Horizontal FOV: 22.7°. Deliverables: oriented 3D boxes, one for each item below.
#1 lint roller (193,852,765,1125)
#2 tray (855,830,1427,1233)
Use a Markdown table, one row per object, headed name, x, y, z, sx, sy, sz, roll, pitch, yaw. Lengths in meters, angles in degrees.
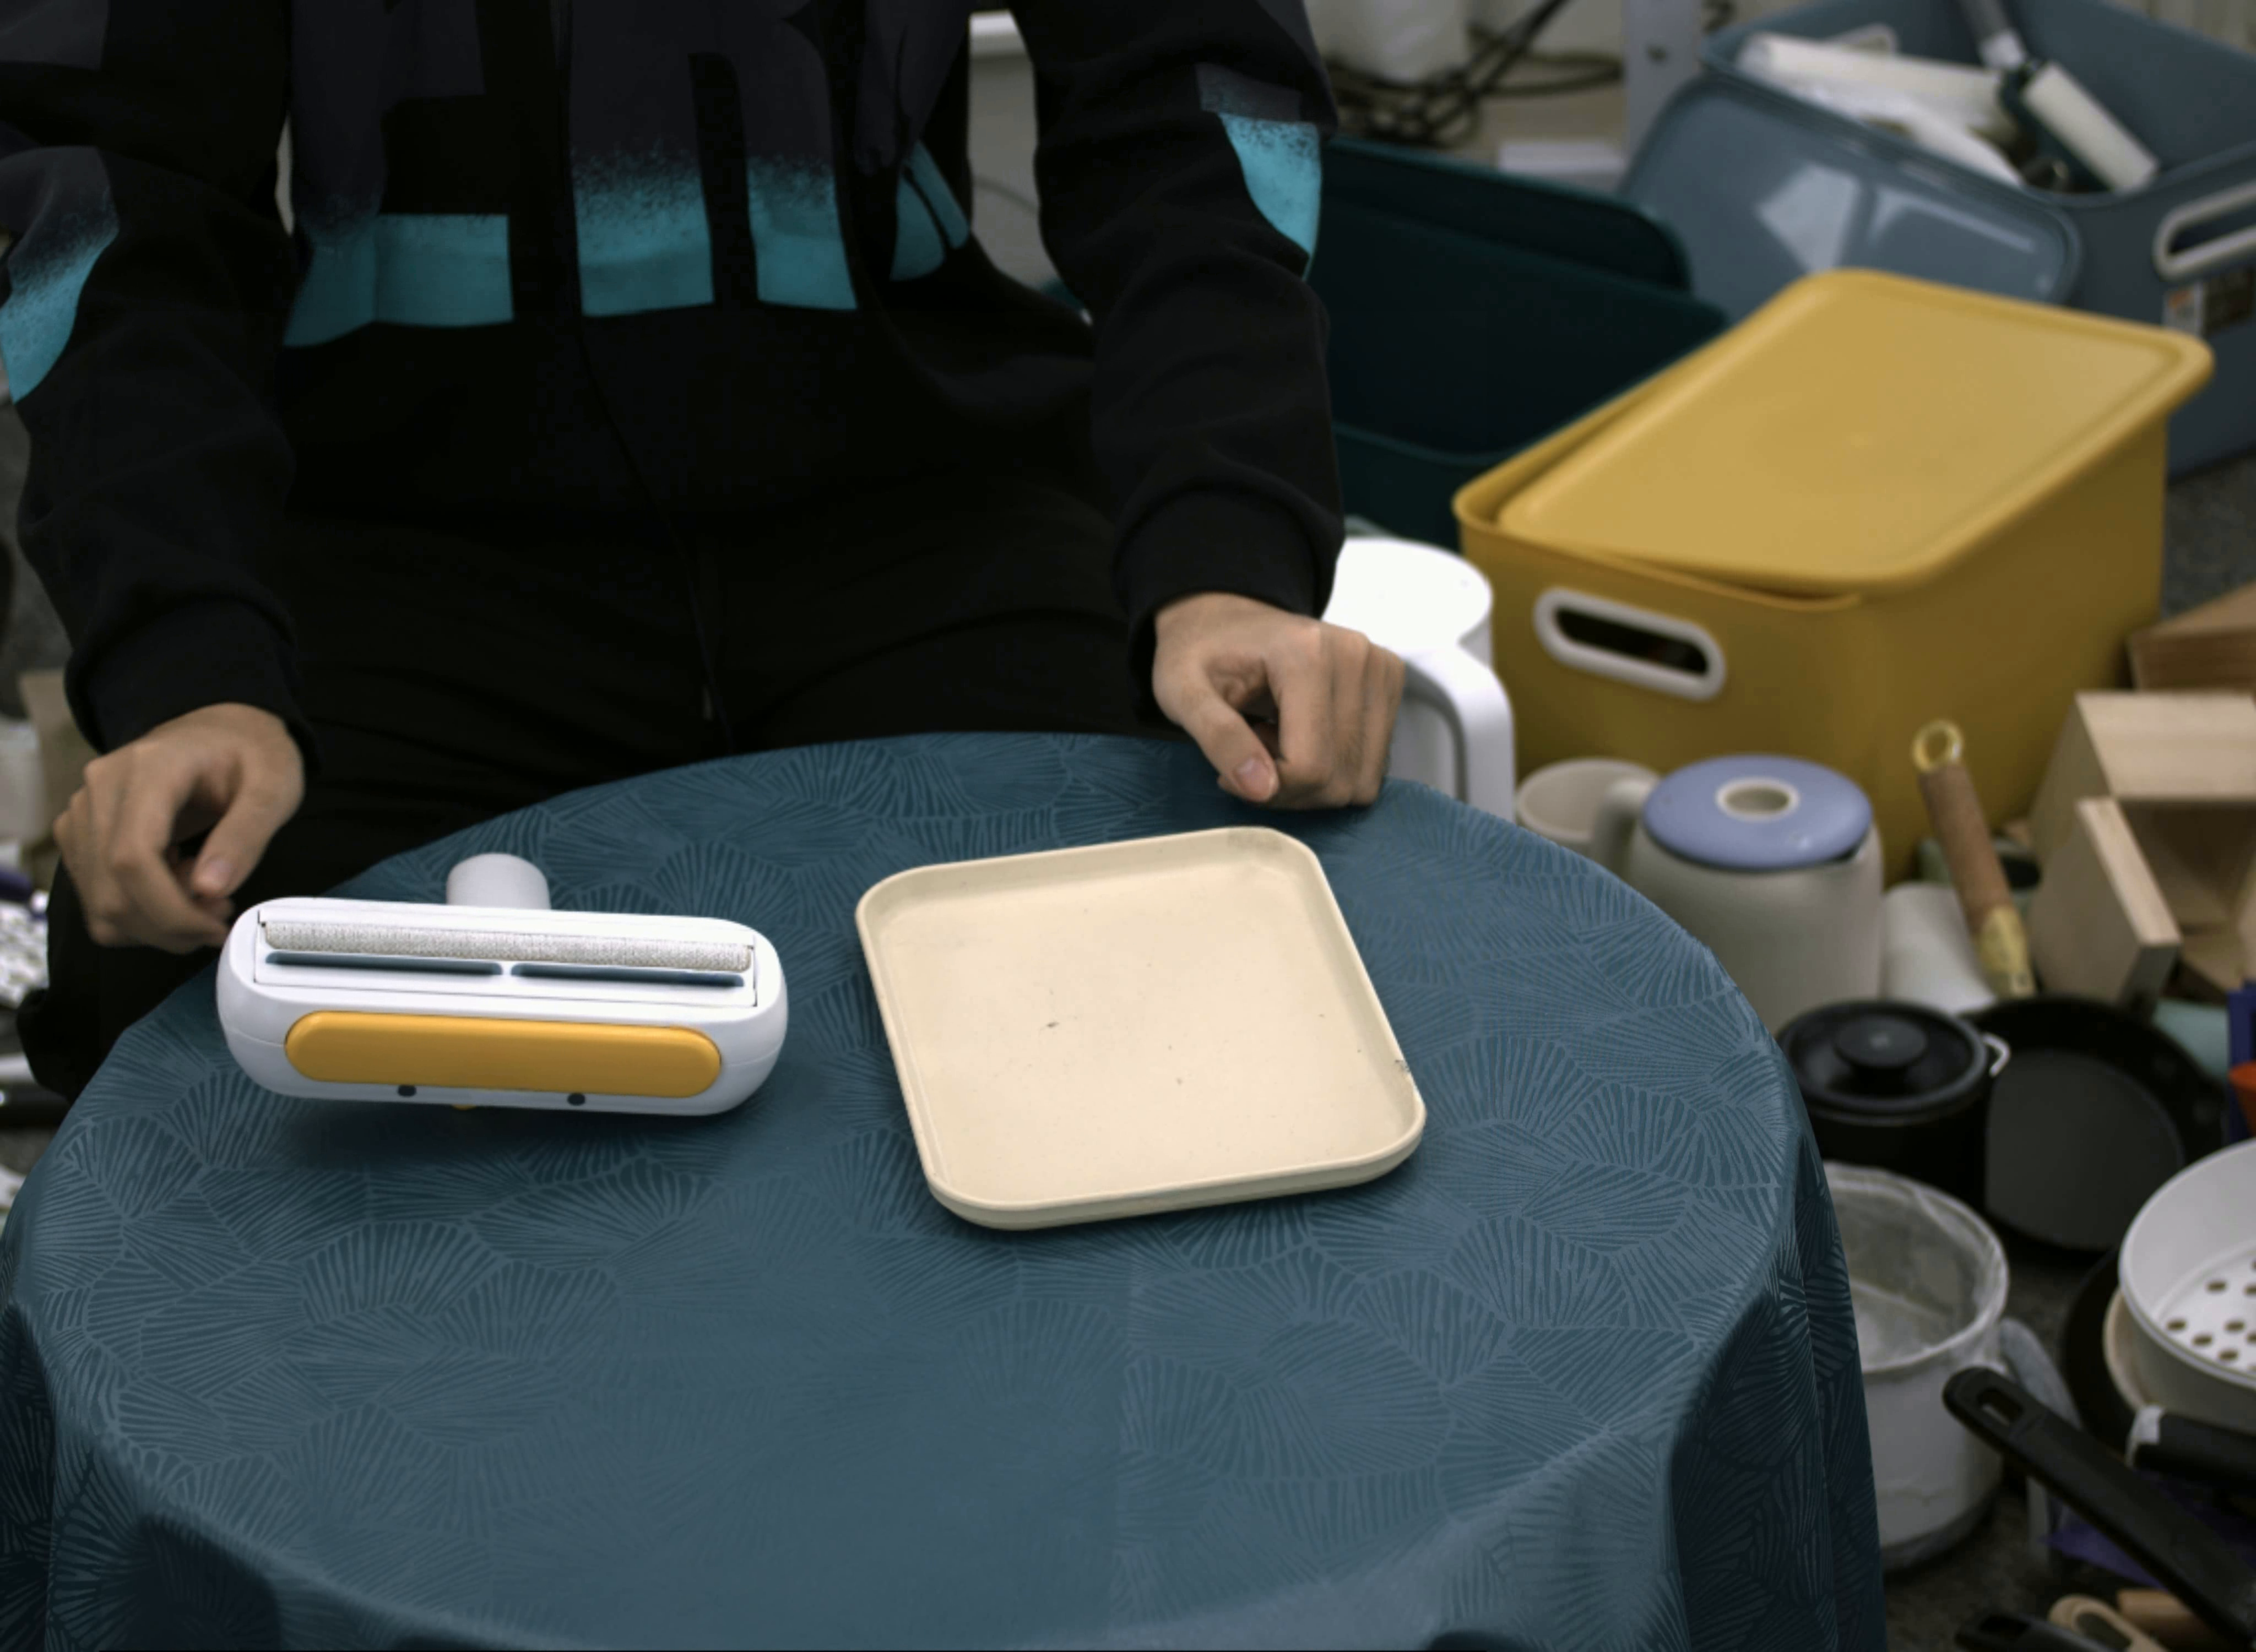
| name | x | y | z | sx | sy | sz | roll | pitch | yaw |
| --- | --- | --- | --- | --- | --- | --- | --- | --- | --- |
| lint roller | -0.222 | 0.043 | 1.962 | 0.192 | 0.073 | 0.195 | 1 | 25 | -4 |
| tray | 0.001 | 0.070 | 1.941 | 0.171 | 0.017 | 0.242 | -7 | 28 | -7 |
